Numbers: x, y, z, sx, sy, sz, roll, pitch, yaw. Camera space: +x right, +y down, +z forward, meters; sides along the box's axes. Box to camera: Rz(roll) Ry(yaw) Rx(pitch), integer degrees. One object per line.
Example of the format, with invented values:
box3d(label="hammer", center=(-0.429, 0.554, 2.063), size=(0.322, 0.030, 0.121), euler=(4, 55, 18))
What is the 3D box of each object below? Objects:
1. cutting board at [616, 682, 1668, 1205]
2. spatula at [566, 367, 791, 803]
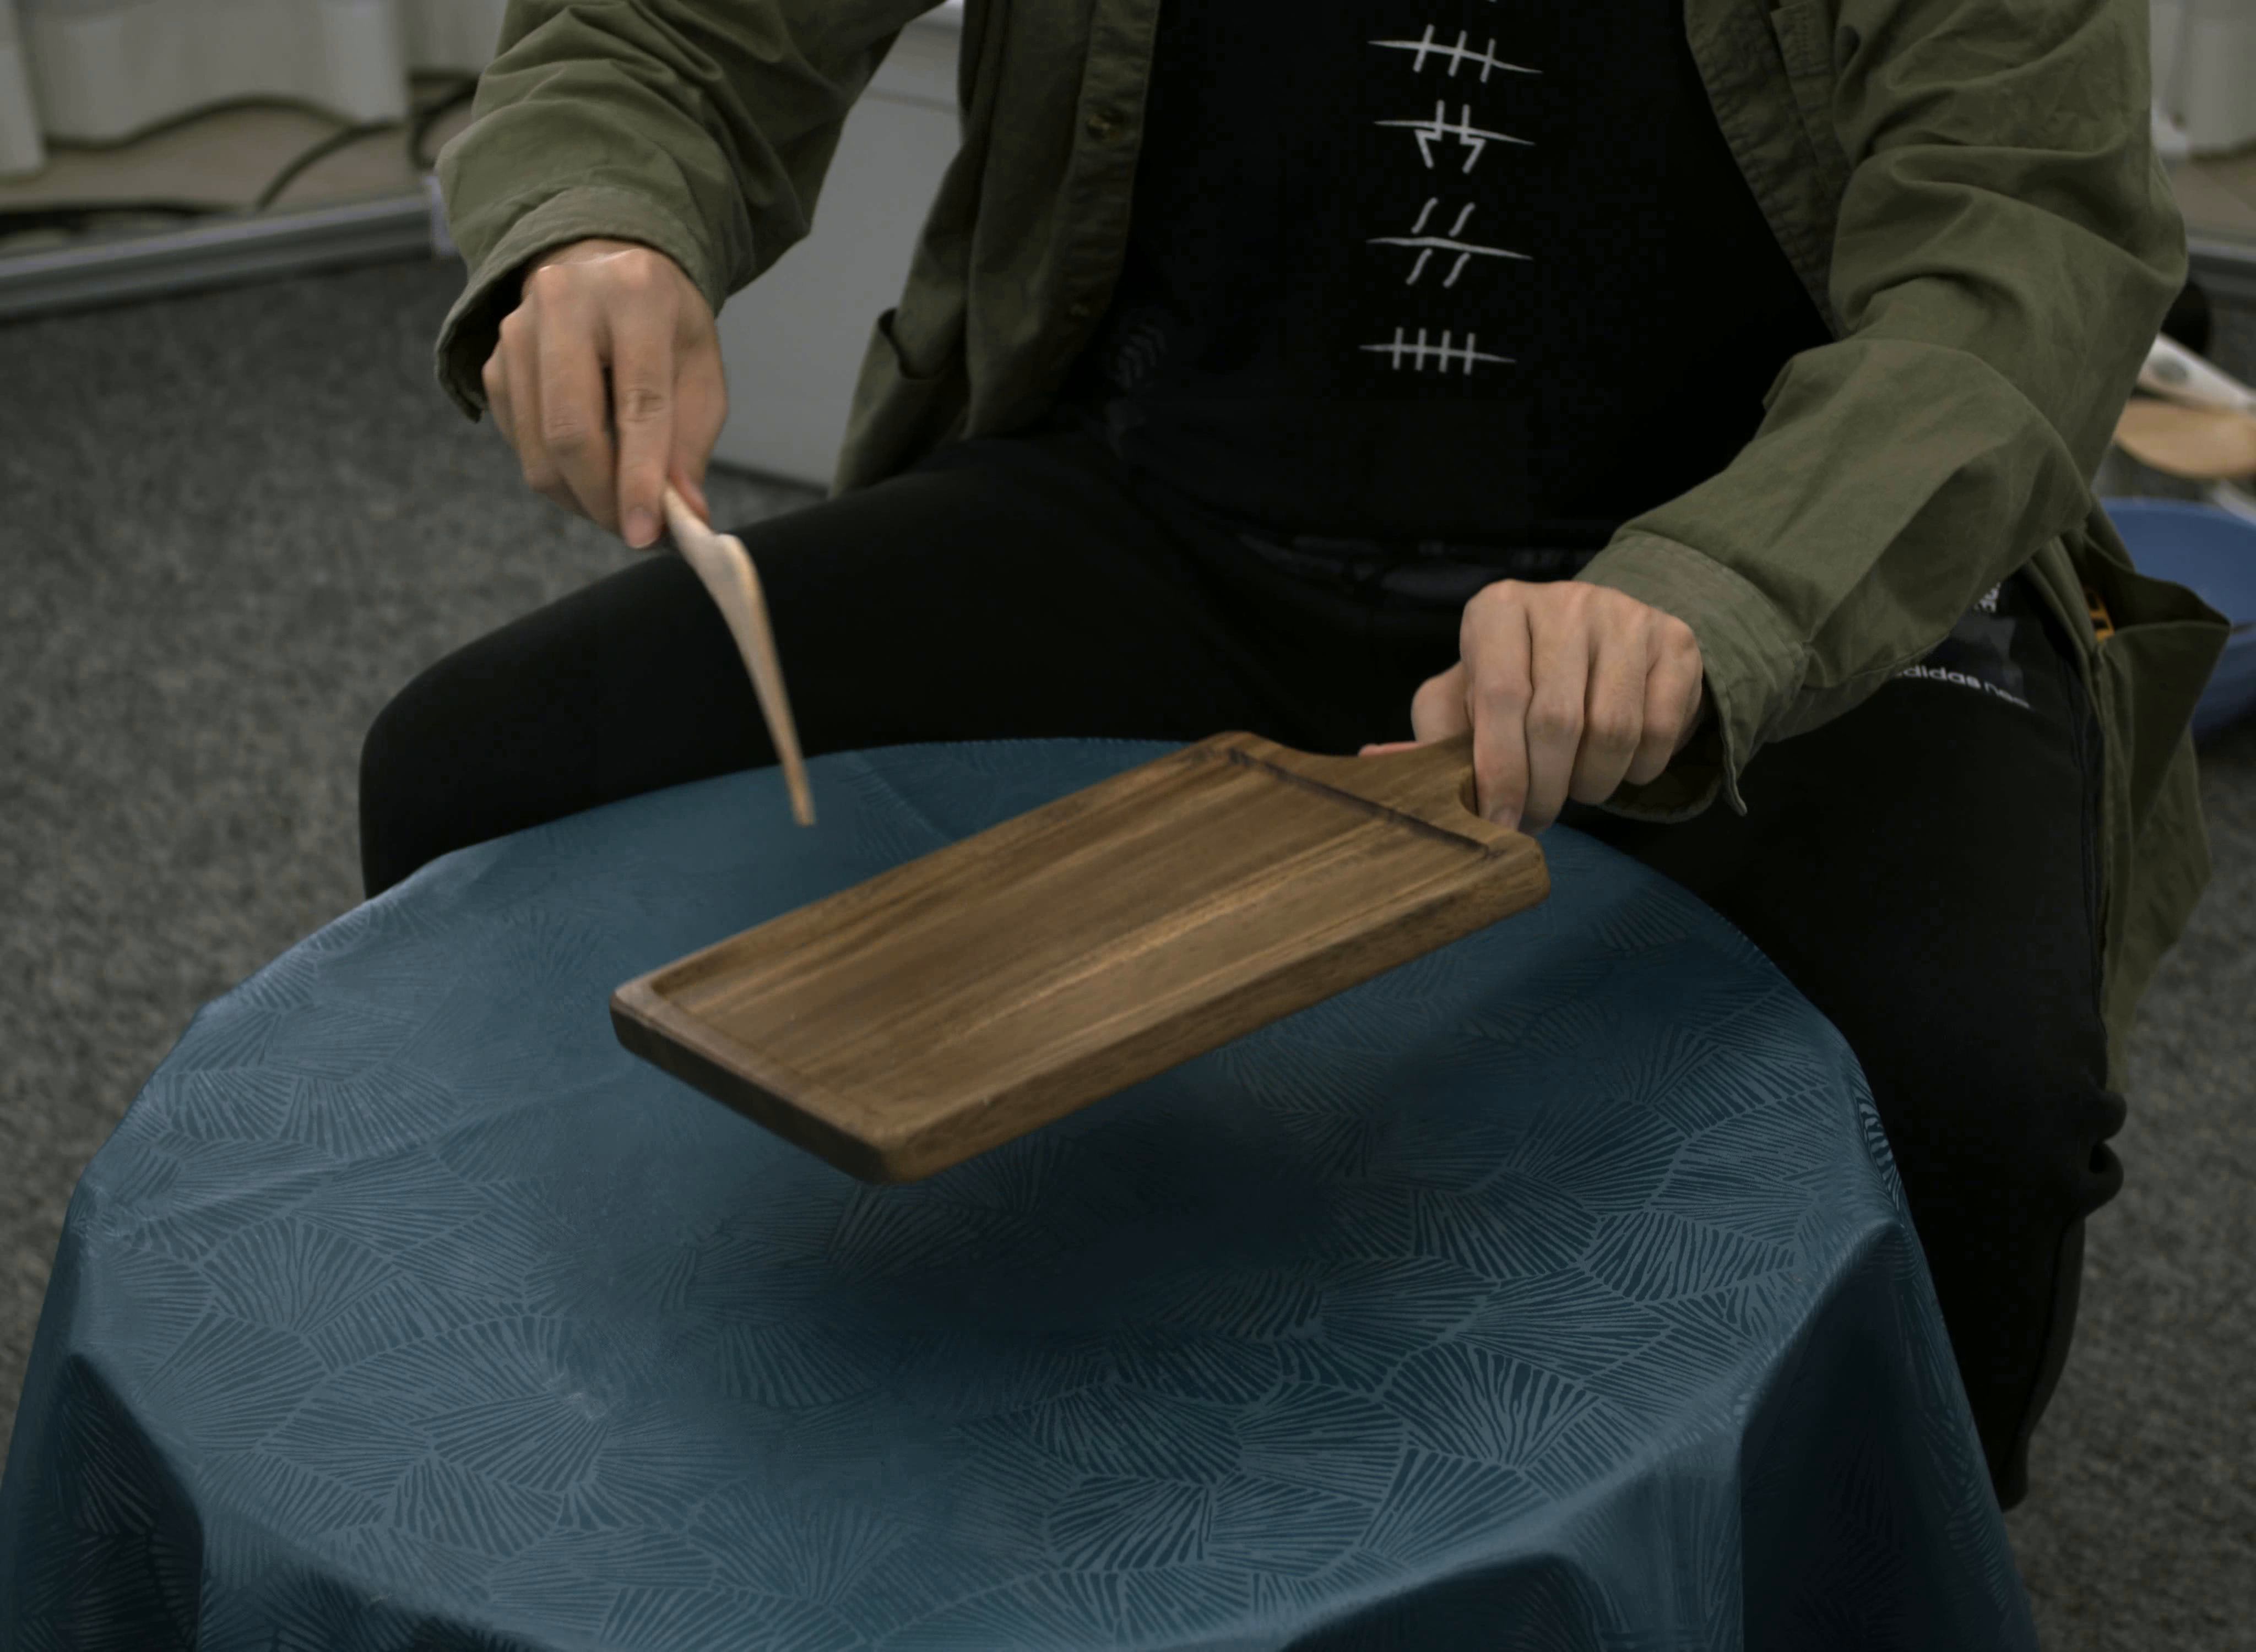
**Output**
box3d(label="cutting board", center=(0.027, 0.024, 1.802), size=(0.354, 0.023, 0.201), euler=(-23, 21, -24))
box3d(label="spatula", center=(-0.152, -0.097, 1.847), size=(0.016, 0.079, 0.330), euler=(-16, 24, -12))
